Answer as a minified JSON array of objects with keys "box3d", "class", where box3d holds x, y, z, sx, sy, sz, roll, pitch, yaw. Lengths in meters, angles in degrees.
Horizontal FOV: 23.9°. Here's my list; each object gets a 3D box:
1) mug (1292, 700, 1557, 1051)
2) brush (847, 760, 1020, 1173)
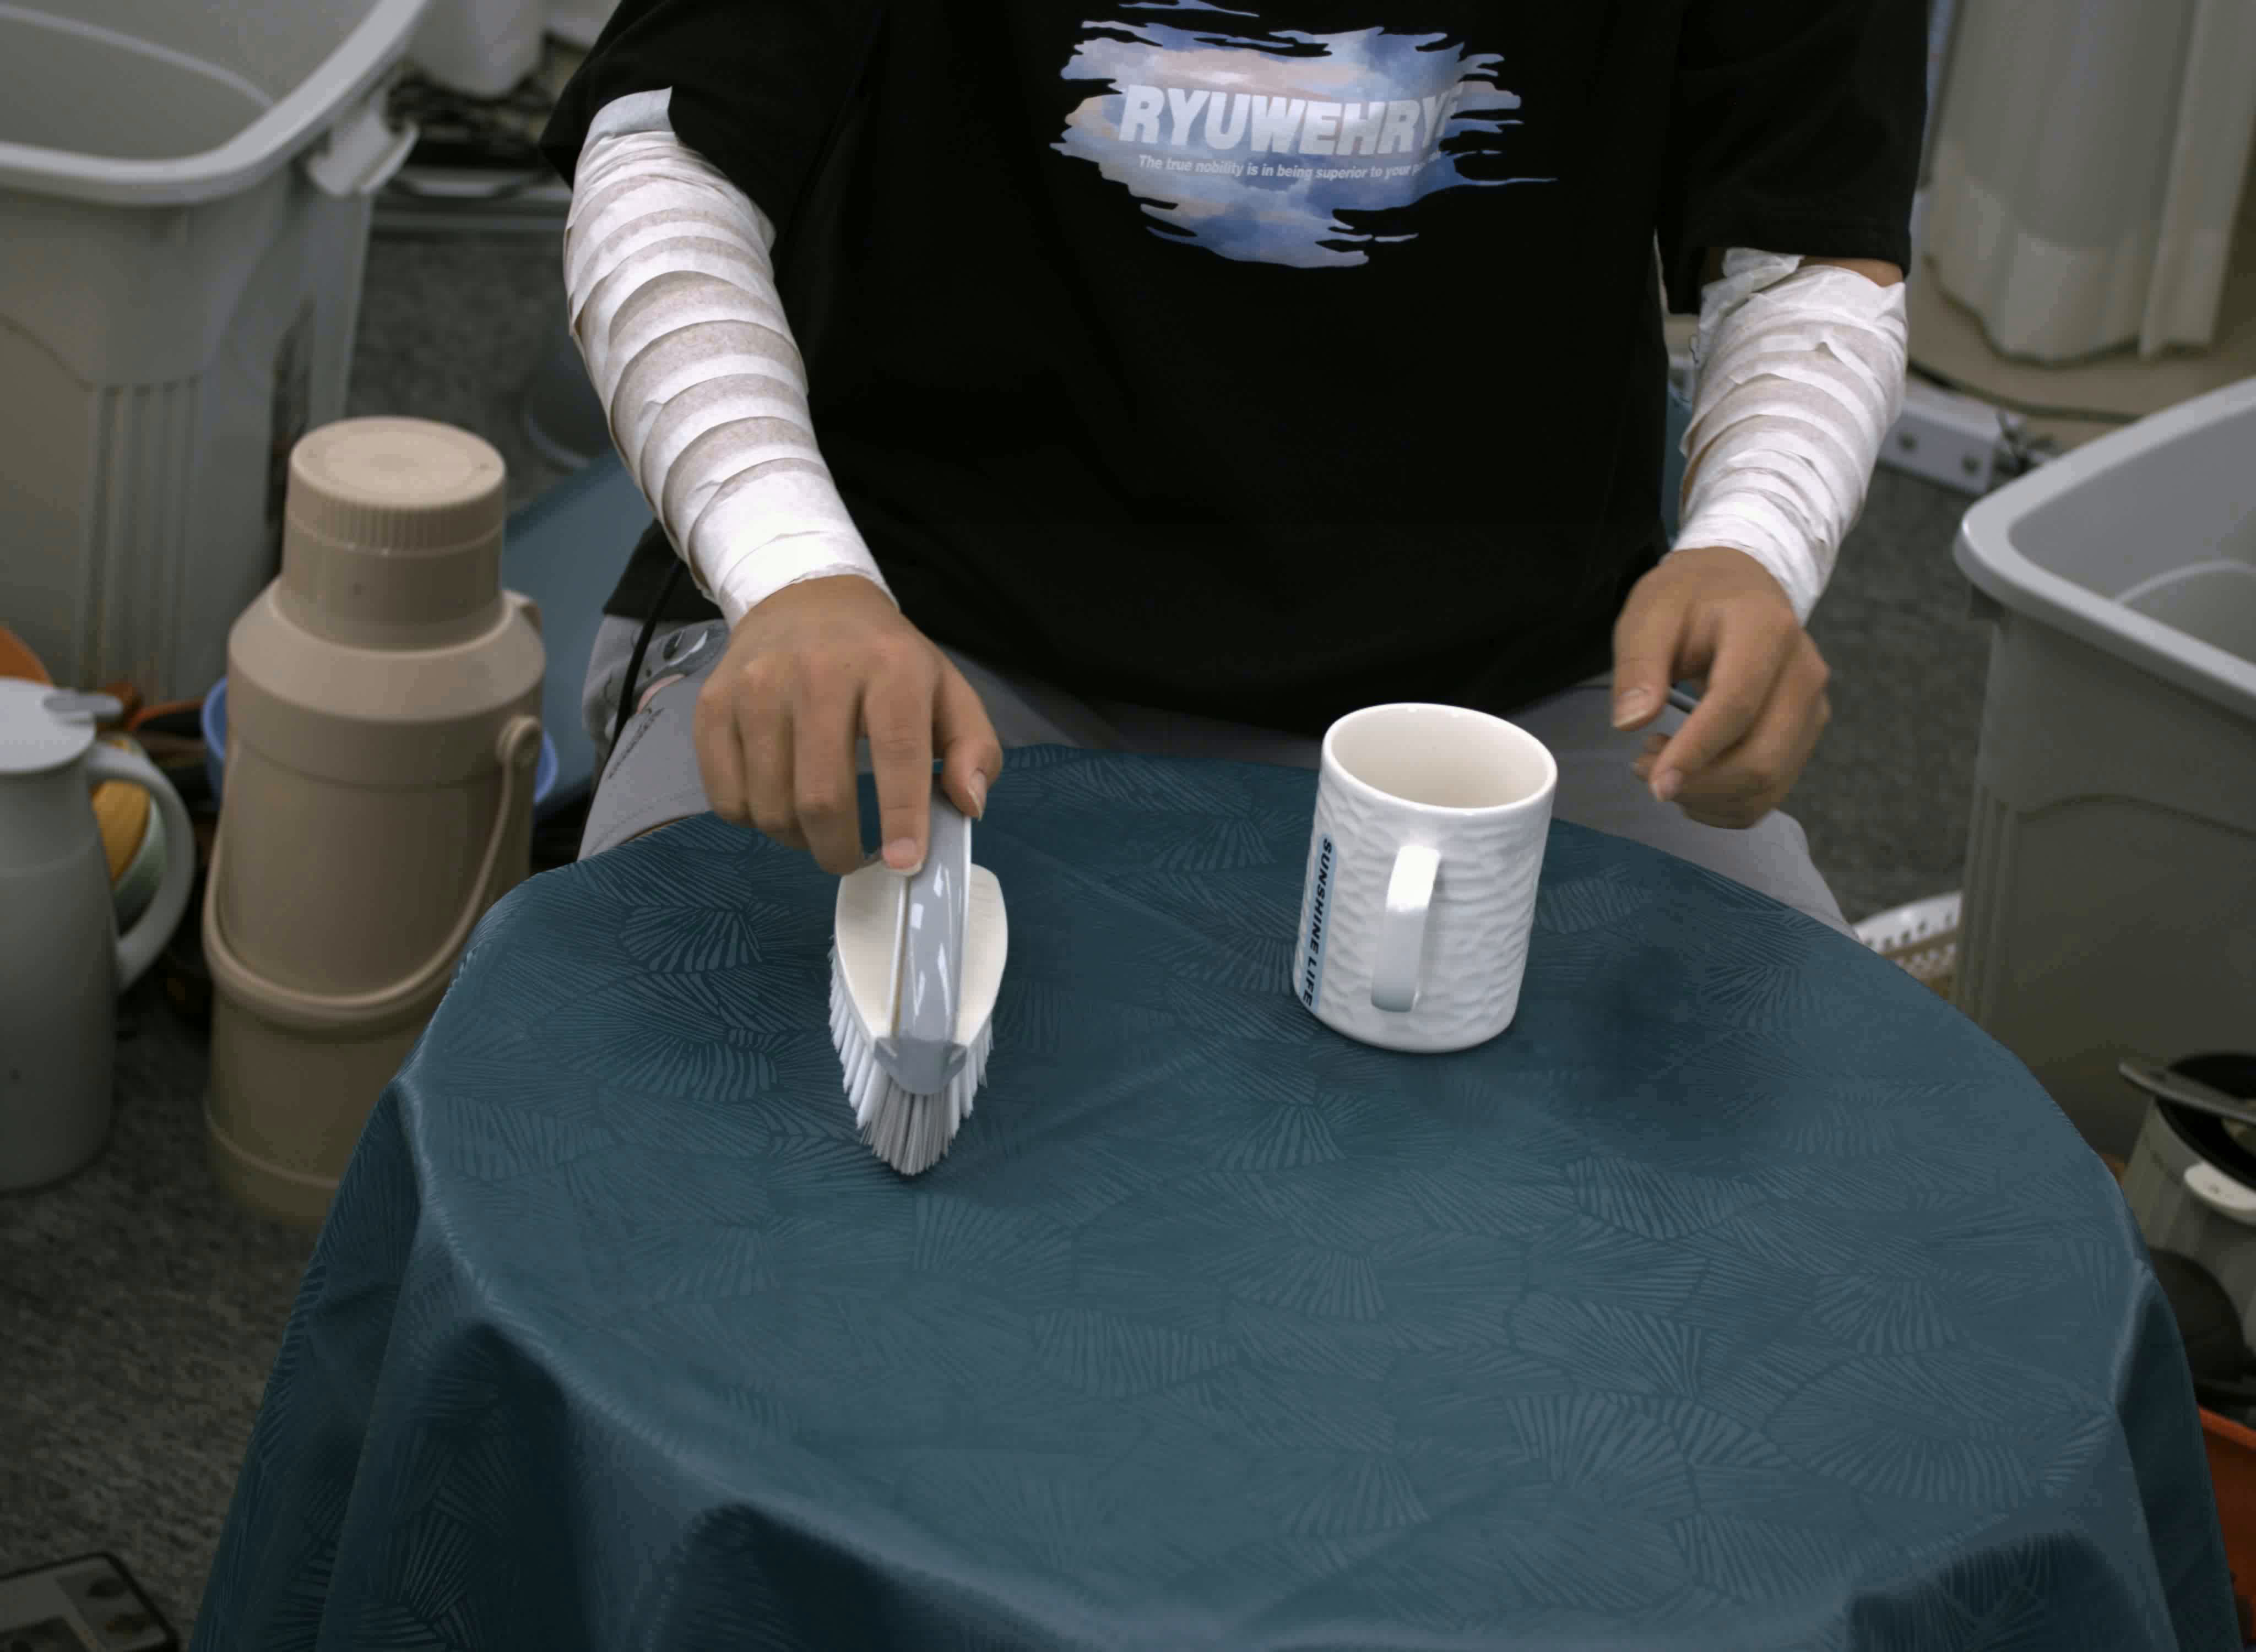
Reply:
[{"box3d":[0.103,0.026,1.907,0.085,0.101,0.119,10,28,6],"class":"mug"},{"box3d":[-0.068,0.041,1.852,0.061,0.094,0.176,3,28,-2],"class":"brush"}]
